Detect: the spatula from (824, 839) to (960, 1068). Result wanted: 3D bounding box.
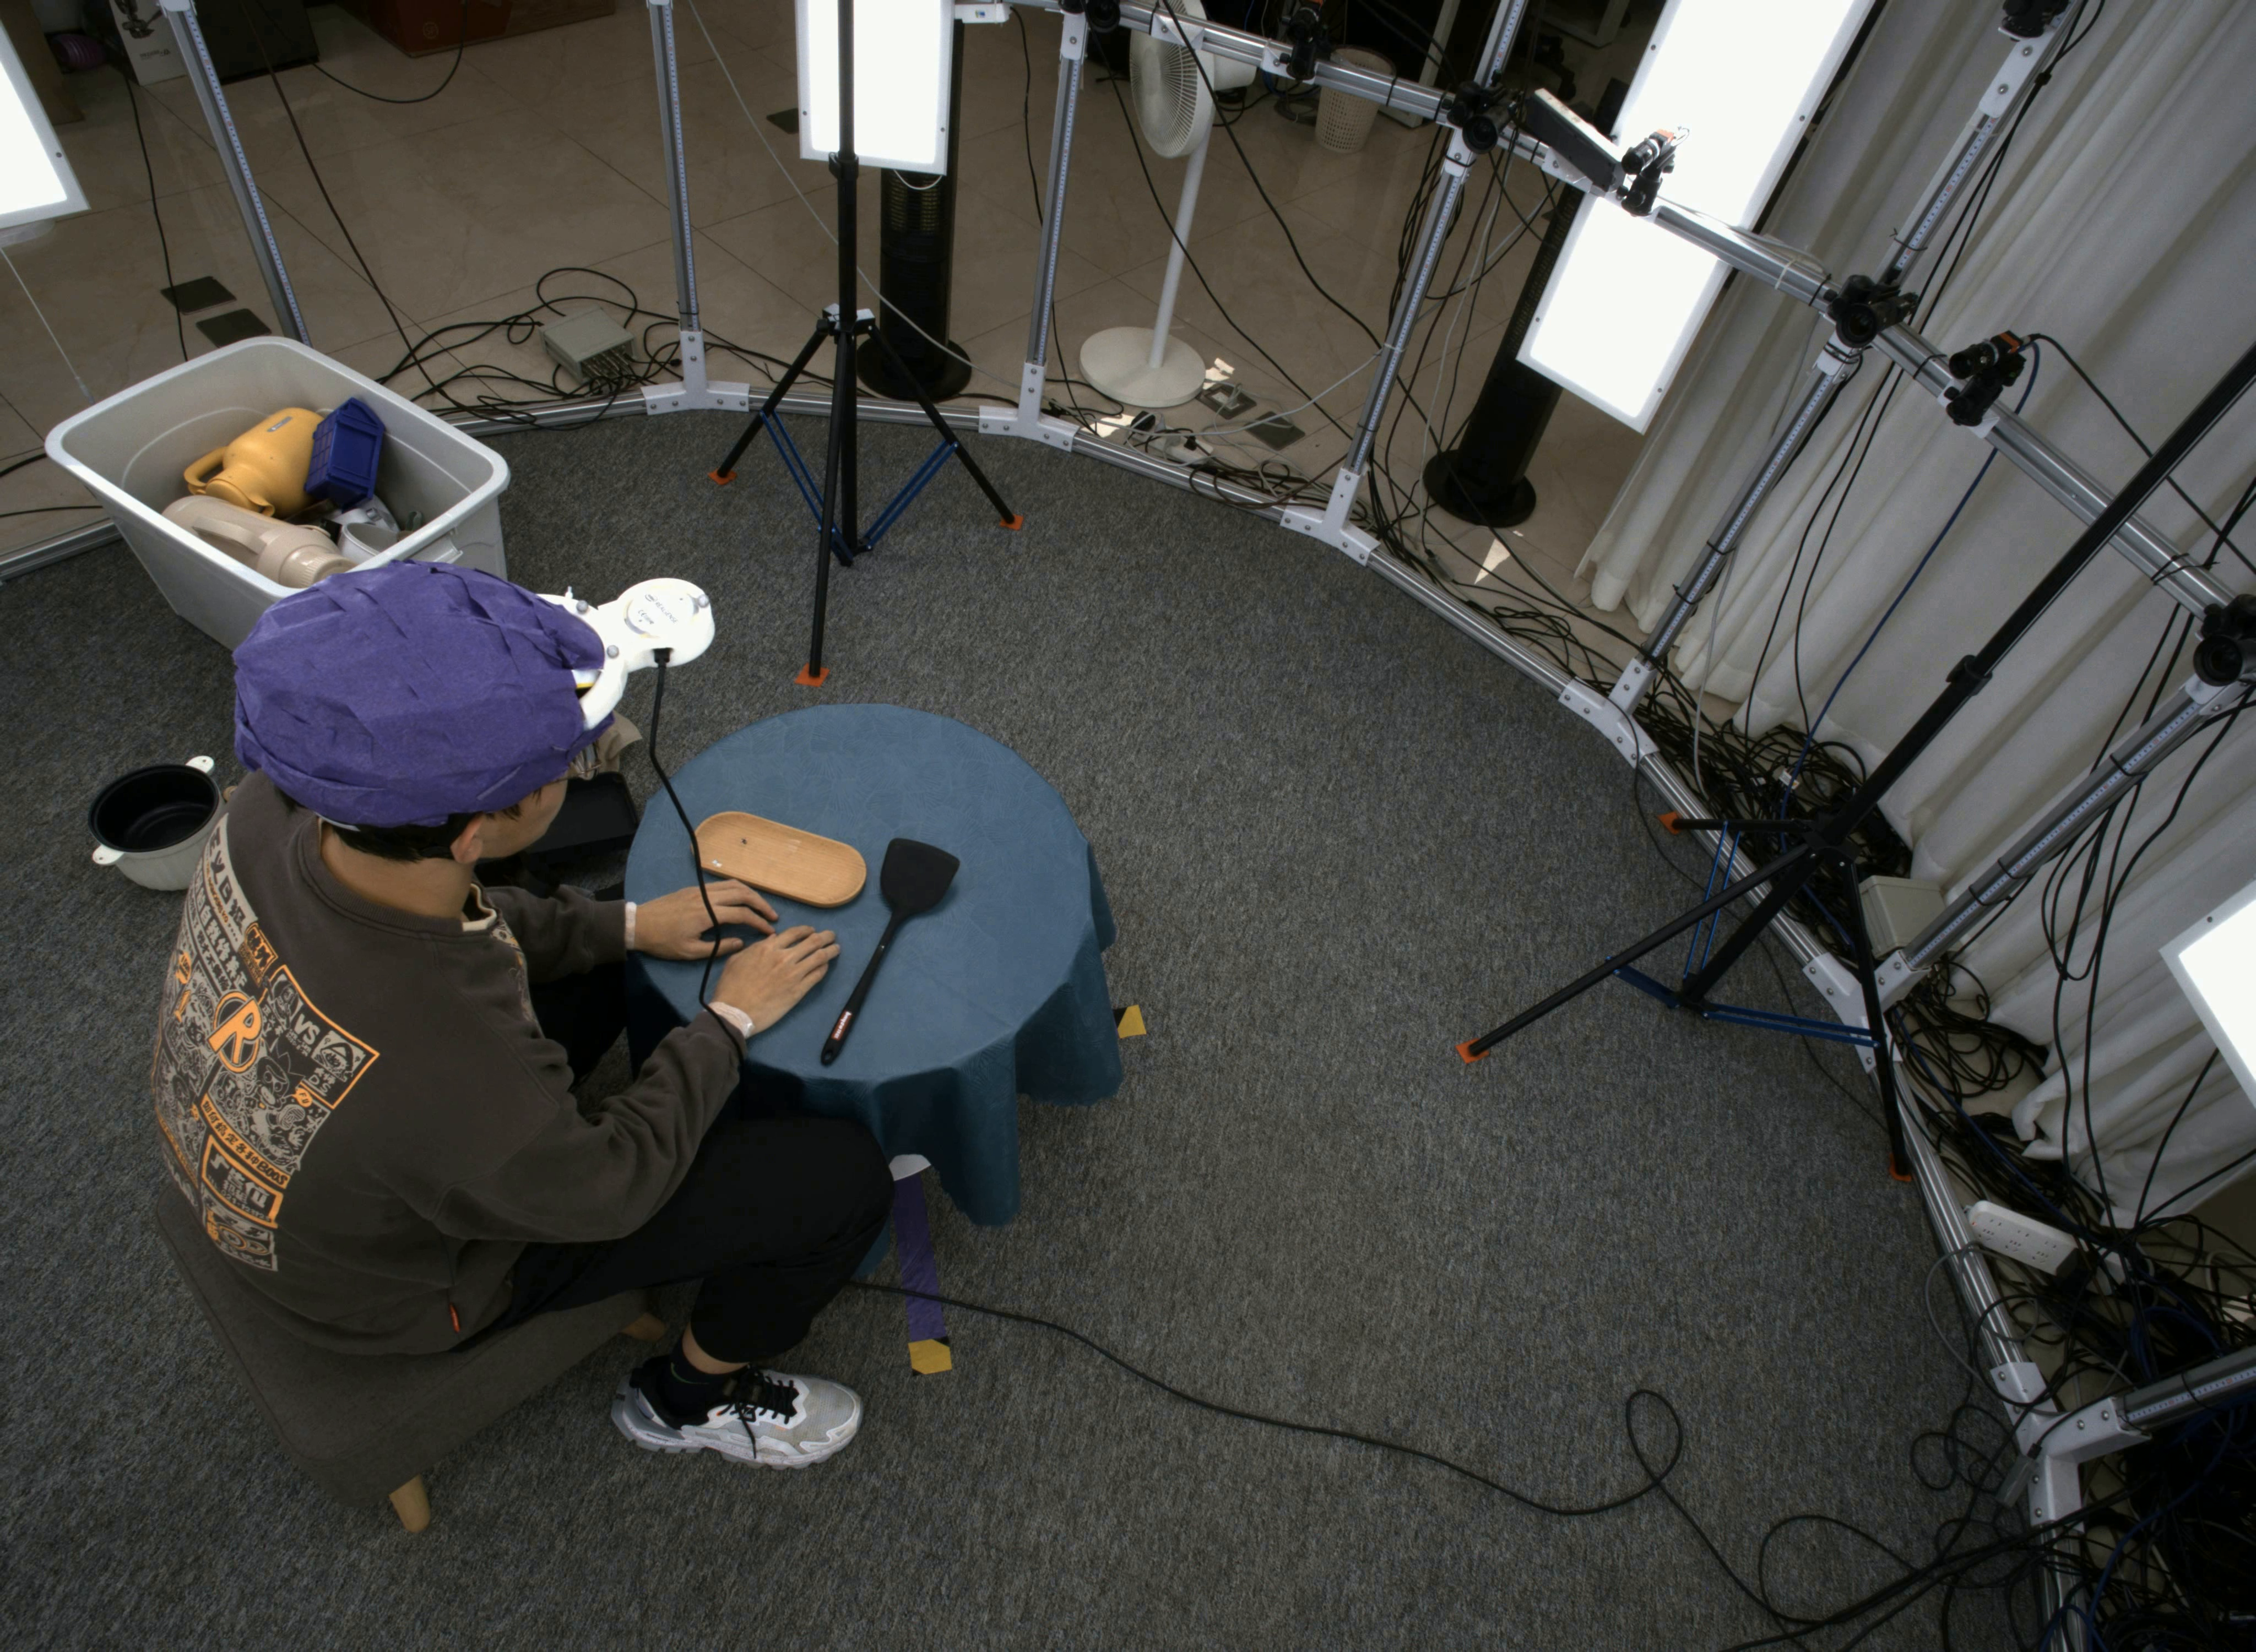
[{"bbox_3d":[-0.310,0.155,1.629,0.098,0.041,0.323,19,52,3],"label":"spatula"}]

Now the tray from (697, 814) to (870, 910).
[{"bbox_3d":[-0.449,0.046,1.689,0.229,0.021,0.100,18,53,-2],"label":"tray"}]
